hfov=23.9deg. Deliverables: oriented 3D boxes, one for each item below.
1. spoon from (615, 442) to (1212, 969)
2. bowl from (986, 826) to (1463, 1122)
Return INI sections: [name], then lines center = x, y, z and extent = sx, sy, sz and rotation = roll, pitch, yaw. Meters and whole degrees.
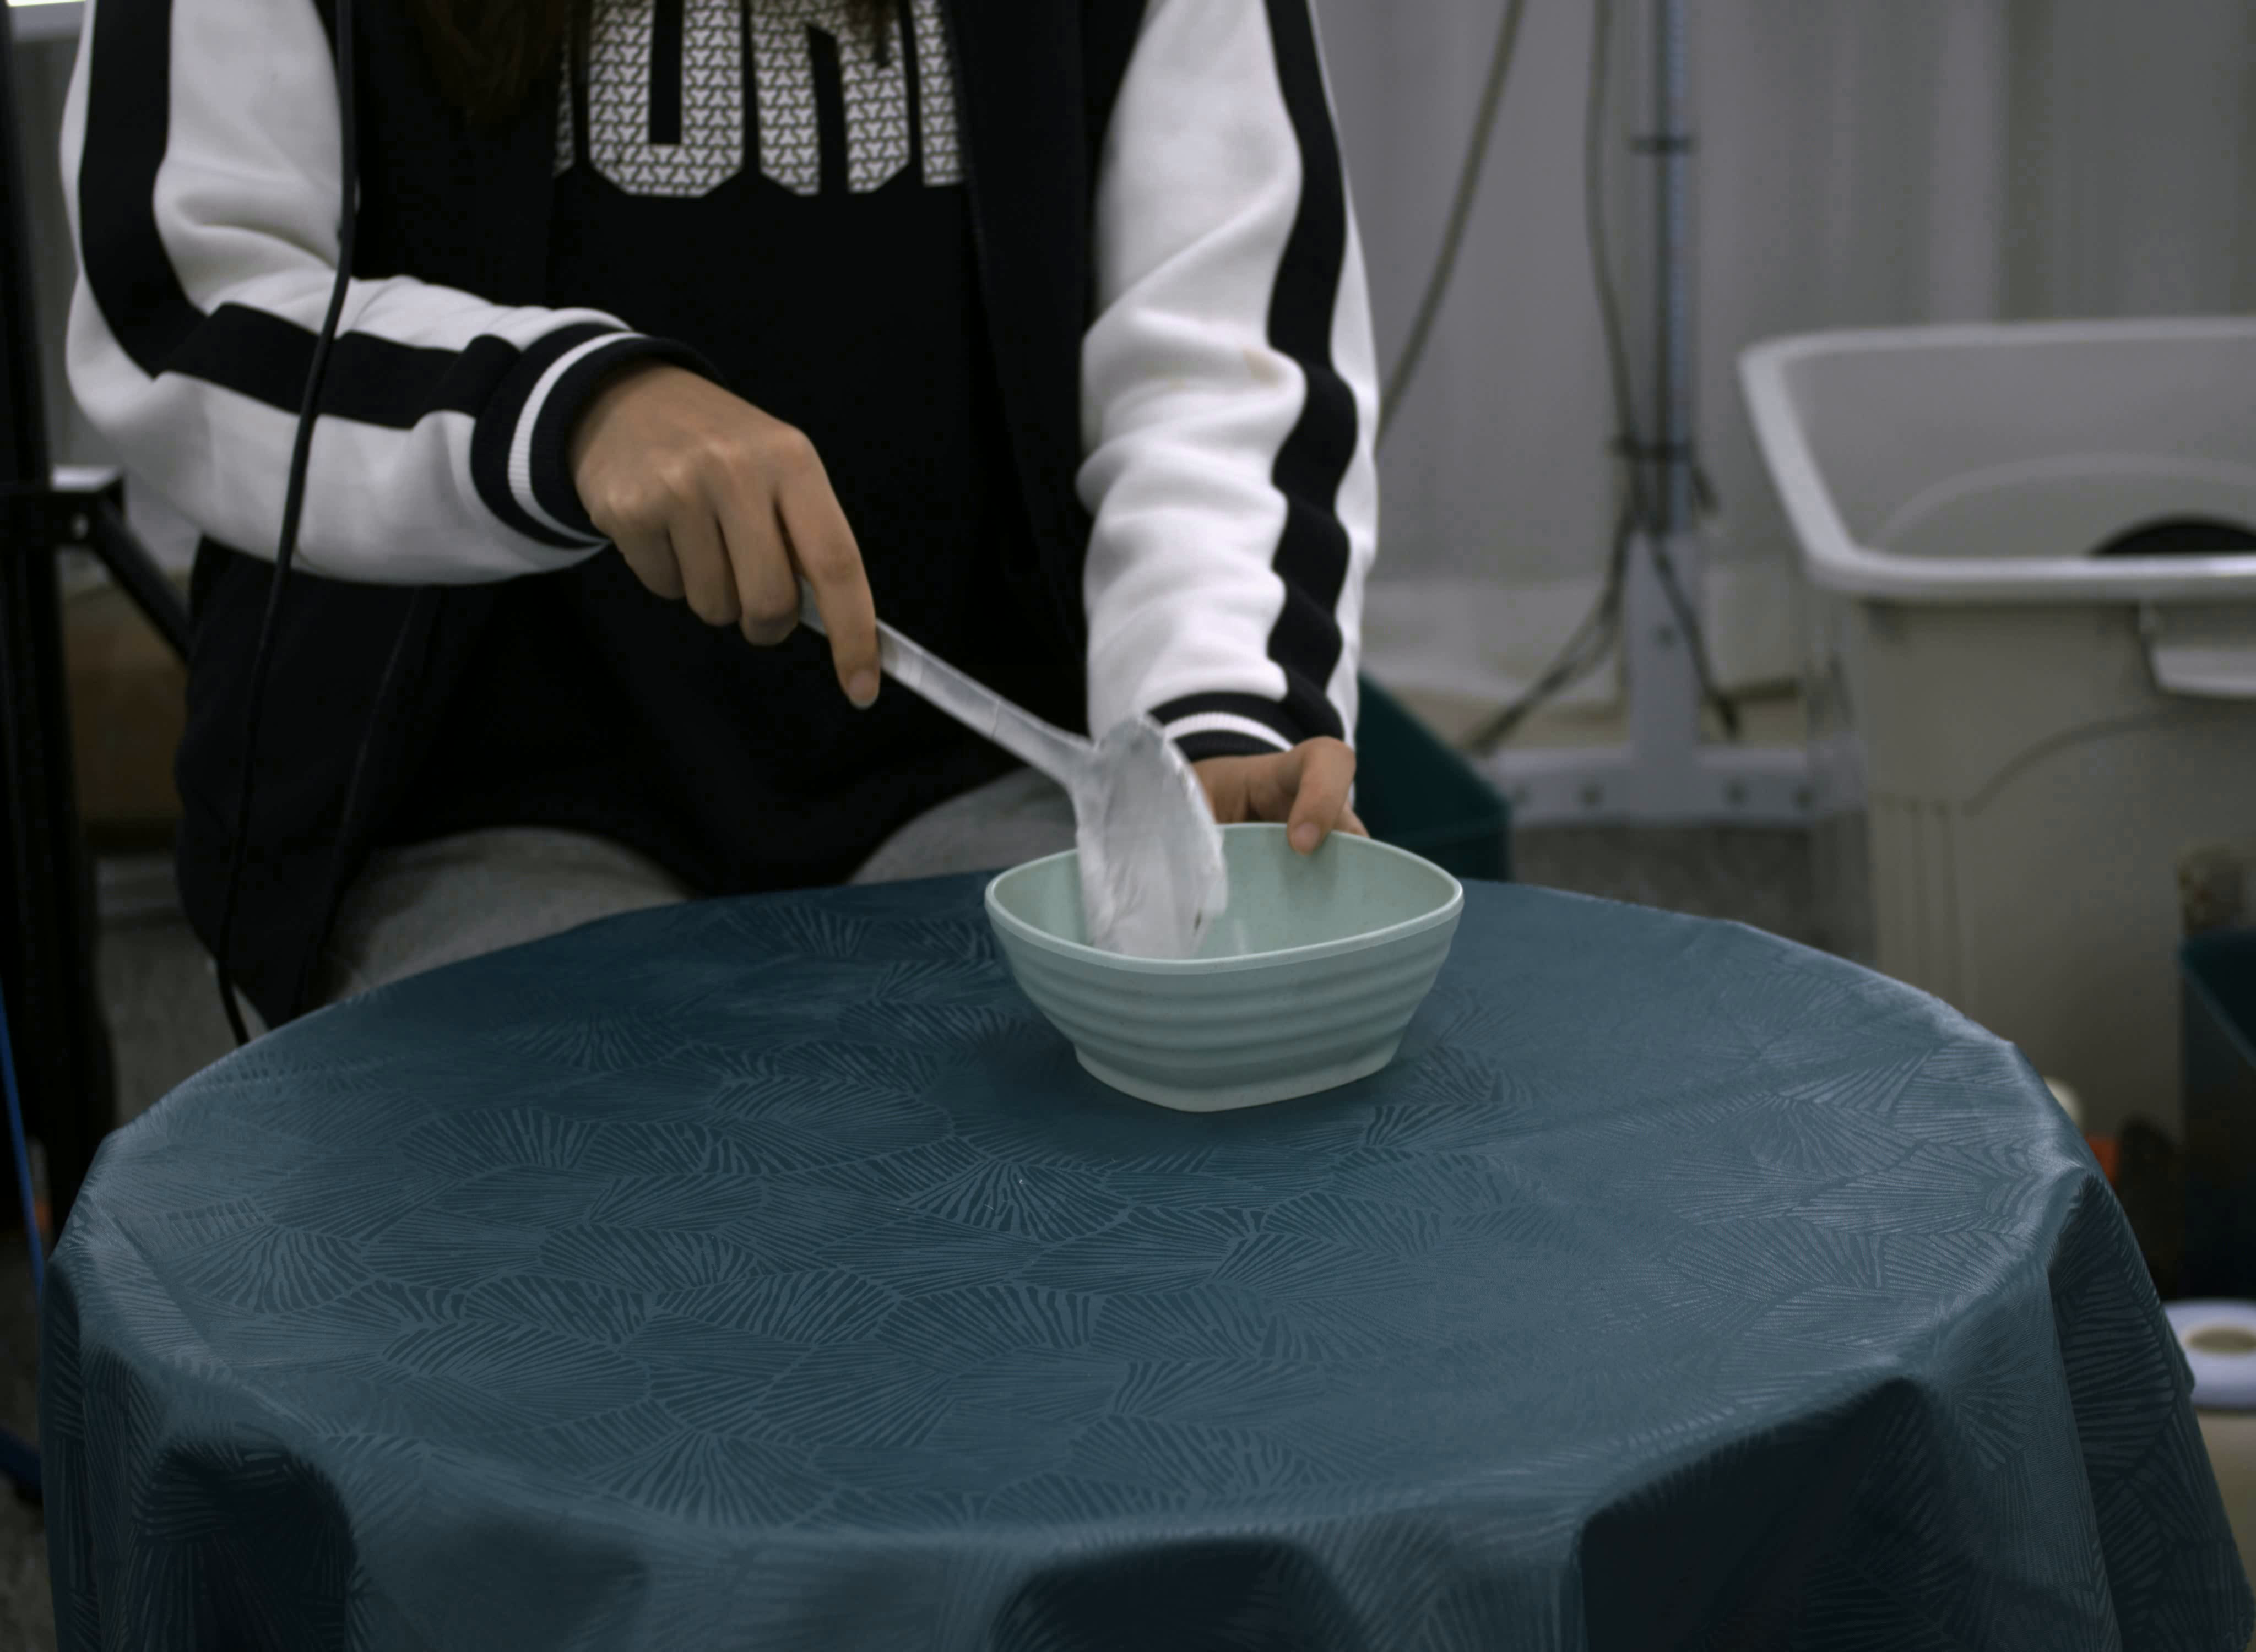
[spoon]
center = -0.074, -0.043, 1.685
extent = 0.281, 0.101, 0.058
rotation = 35, 35, 22
[bowl]
center = 0.031, 0.049, 1.663
extent = 0.151, 0.058, 0.152
rotation = -3, 16, 0
